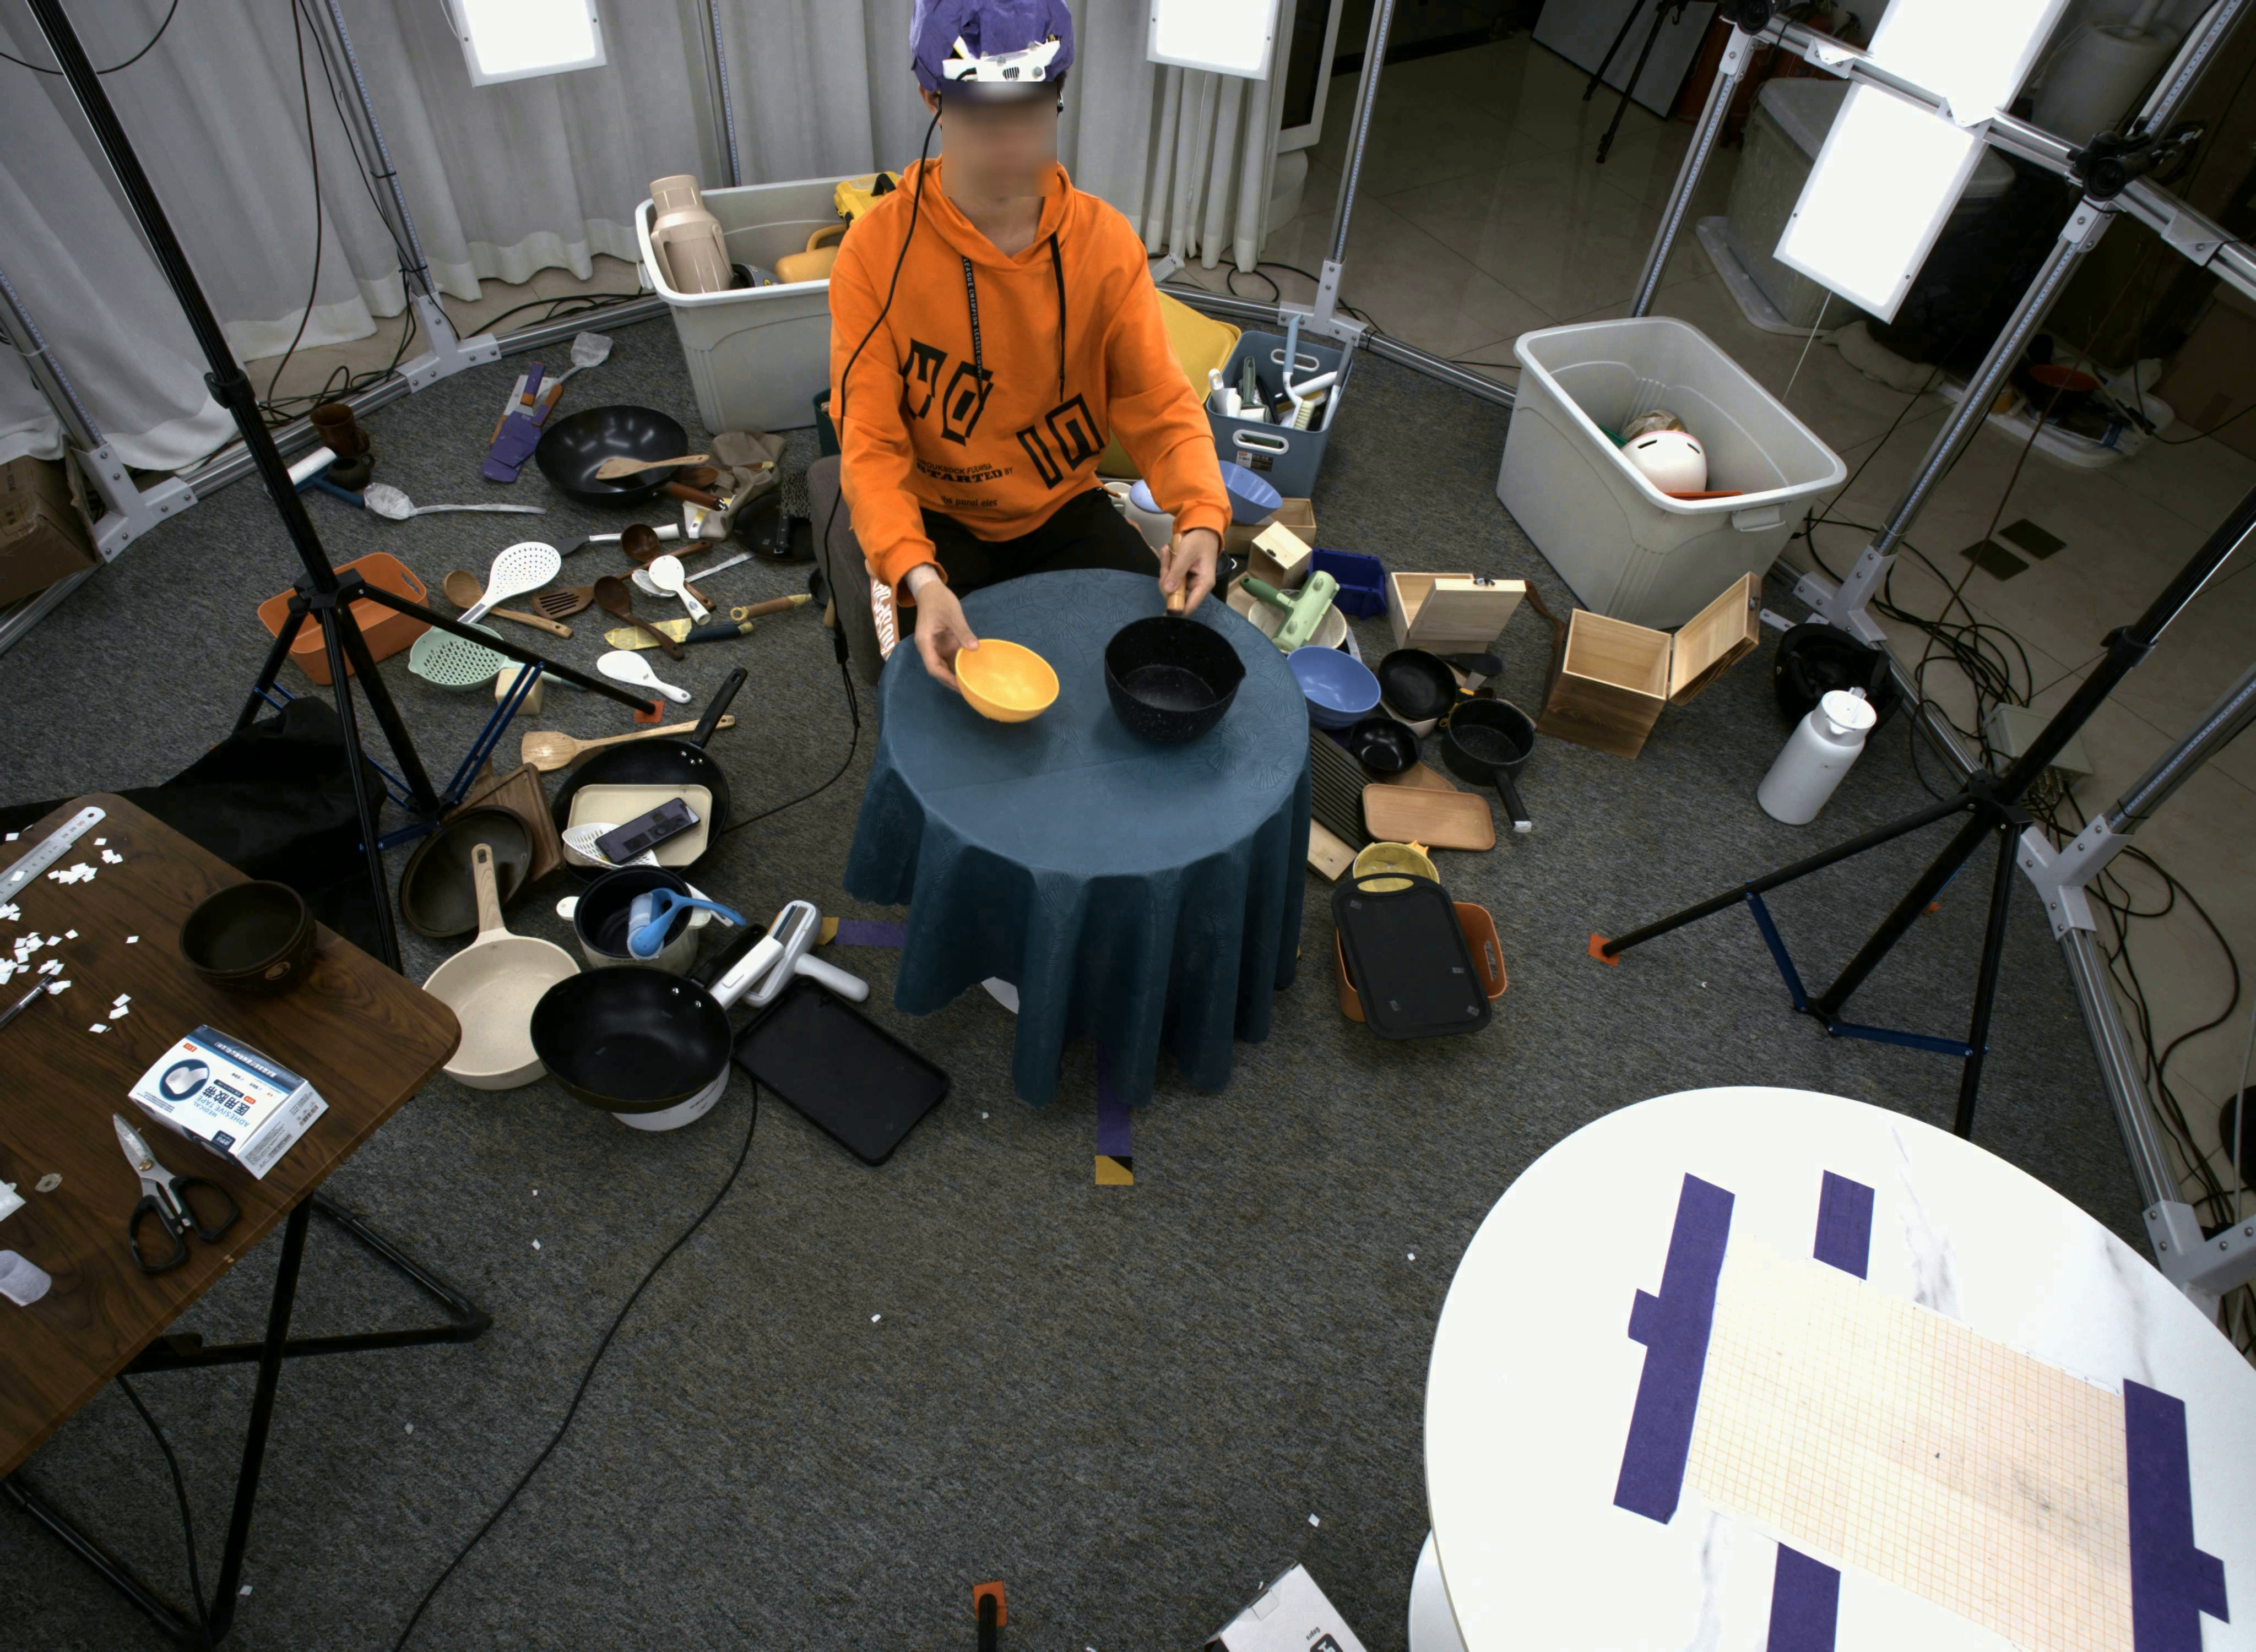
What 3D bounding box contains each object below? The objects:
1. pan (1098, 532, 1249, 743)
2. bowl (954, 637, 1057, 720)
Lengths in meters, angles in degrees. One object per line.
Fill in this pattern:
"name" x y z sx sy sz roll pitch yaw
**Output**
"pan" 0.062 -0.267 1.814 0.207 0.106 0.351 5 51 -3
"bowl" -0.173 -0.187 1.738 0.144 0.059 0.149 16 39 -13
